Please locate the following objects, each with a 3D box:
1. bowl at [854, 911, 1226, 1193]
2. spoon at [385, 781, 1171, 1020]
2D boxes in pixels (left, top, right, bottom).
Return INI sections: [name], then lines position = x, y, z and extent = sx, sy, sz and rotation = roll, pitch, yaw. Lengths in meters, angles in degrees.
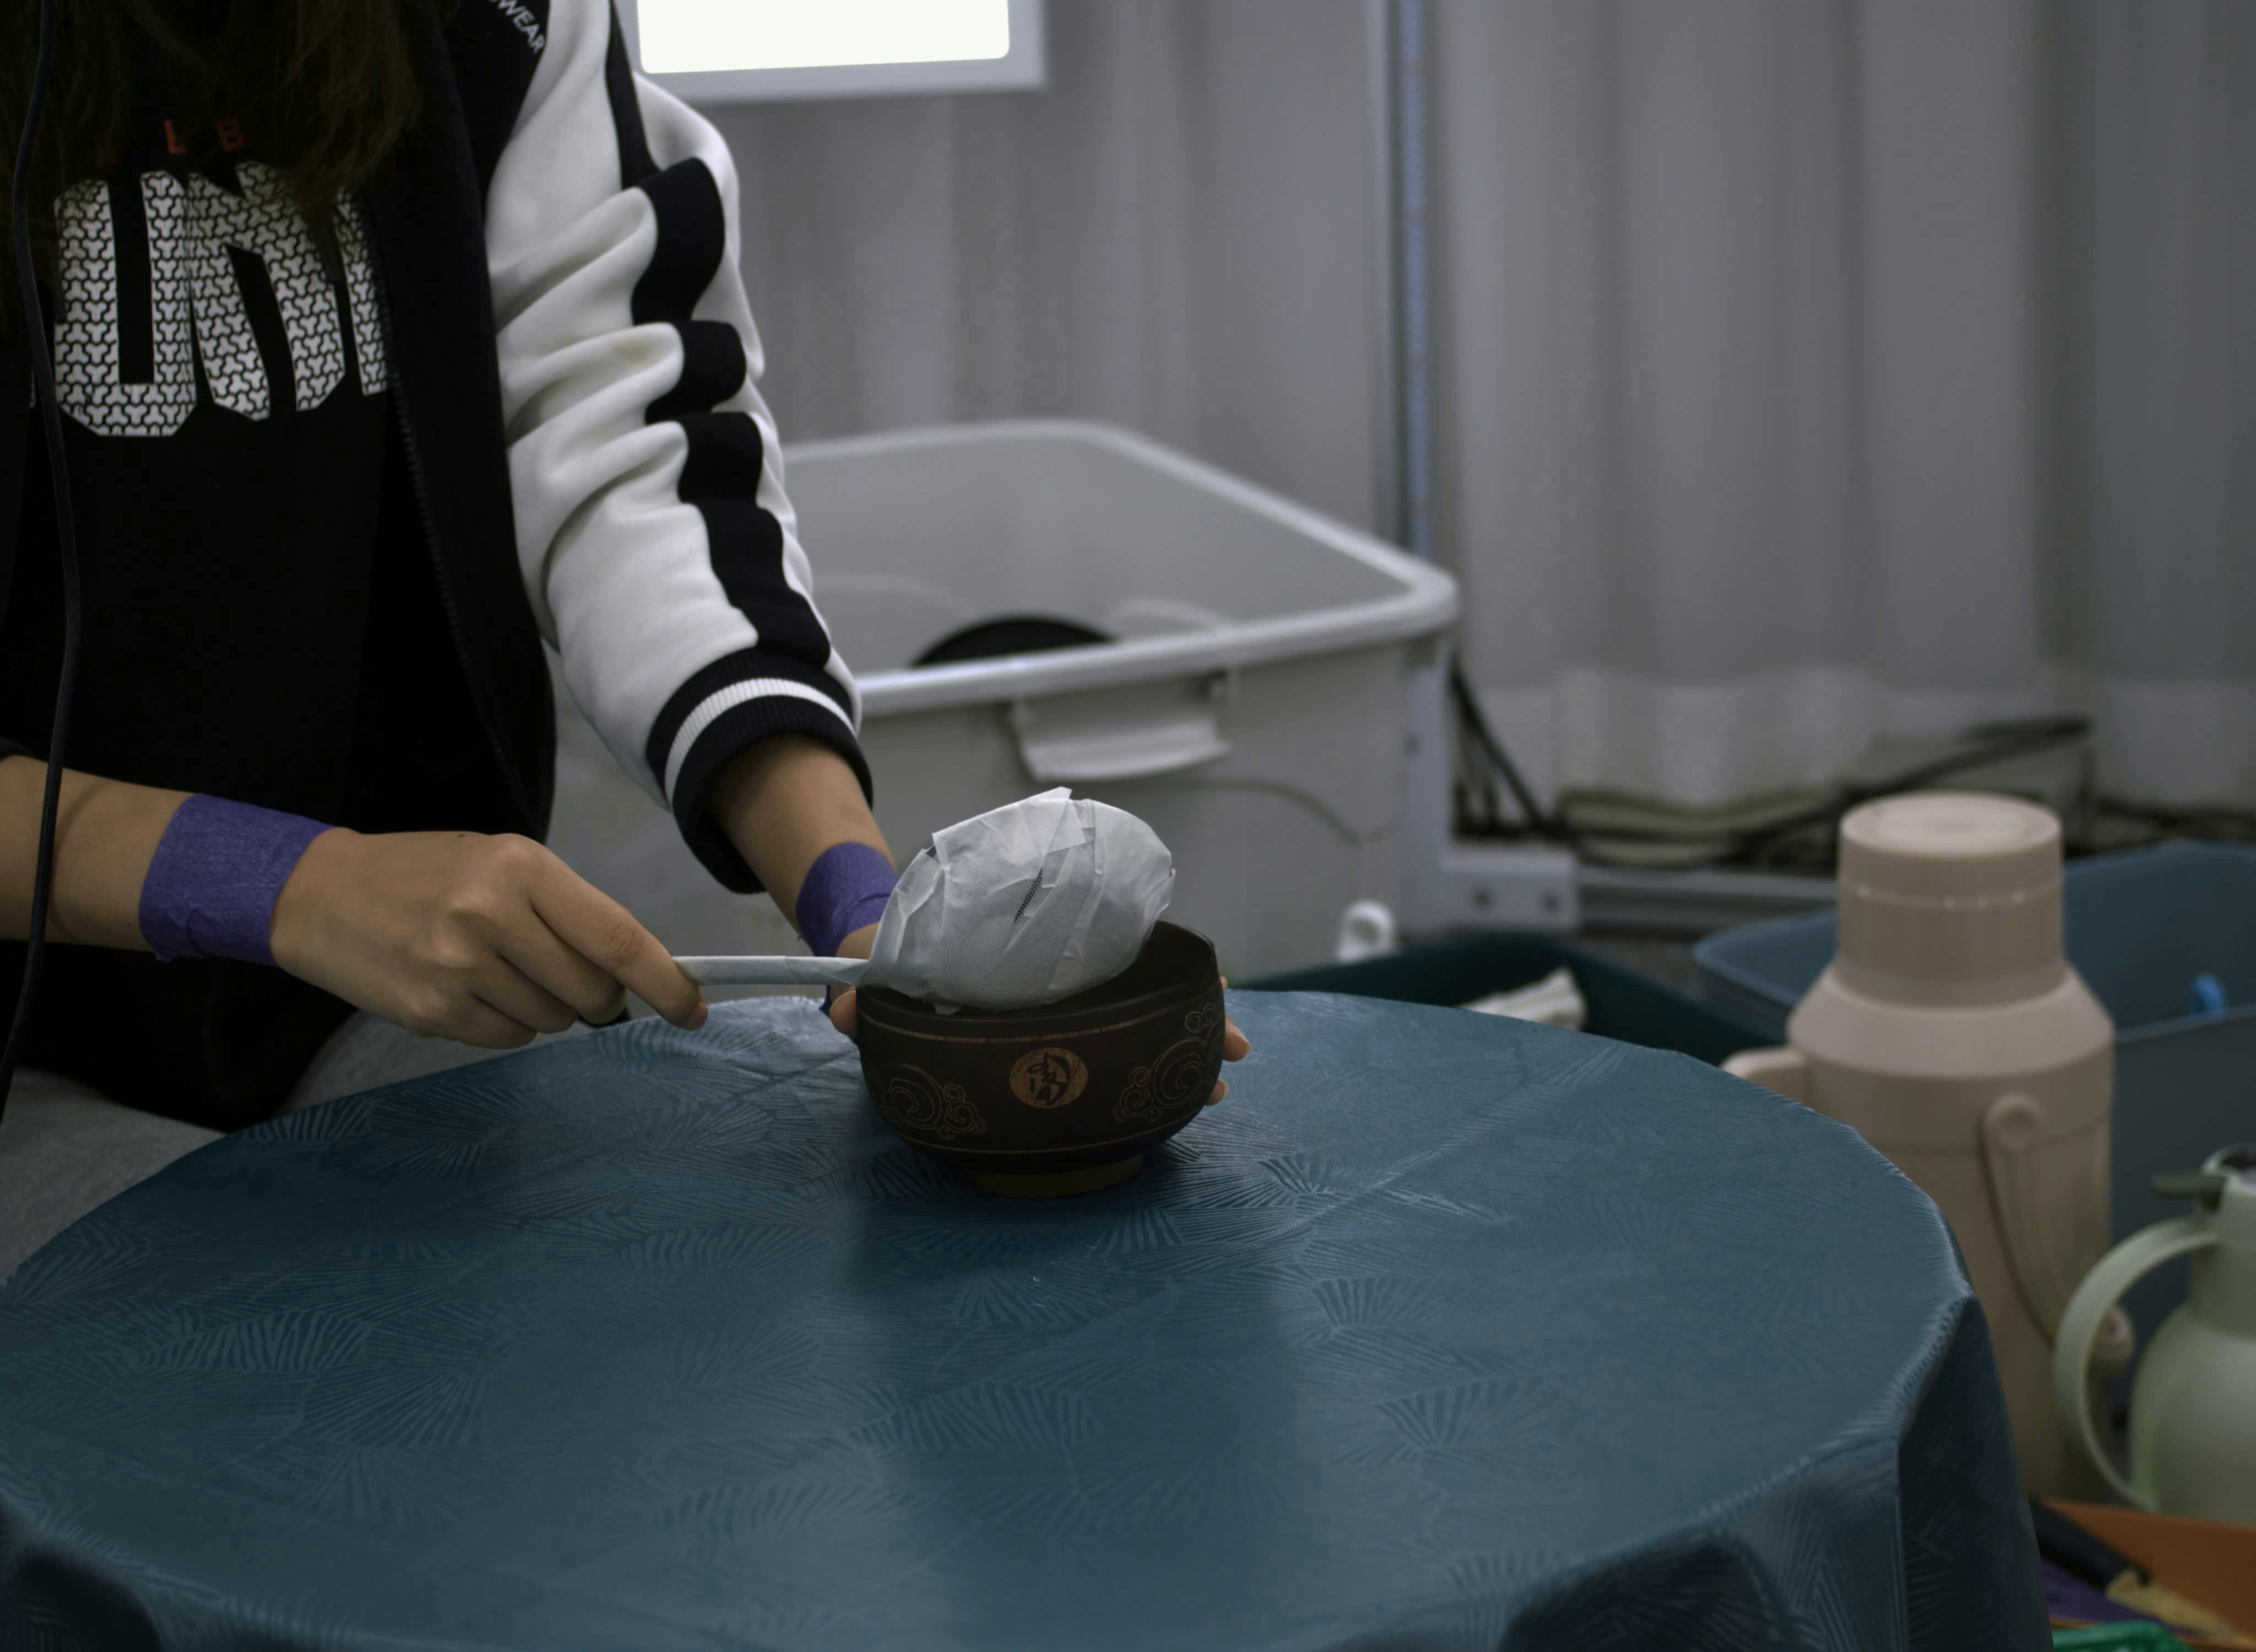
[bowl]
position = -0.027, 0.074, 1.729
extent = 0.117, 0.069, 0.119
rotation = -4, 15, 1
[spoon]
position = -0.115, 0.032, 1.746
extent = 0.277, 0.099, 0.060
rotation = -4, 47, 32
